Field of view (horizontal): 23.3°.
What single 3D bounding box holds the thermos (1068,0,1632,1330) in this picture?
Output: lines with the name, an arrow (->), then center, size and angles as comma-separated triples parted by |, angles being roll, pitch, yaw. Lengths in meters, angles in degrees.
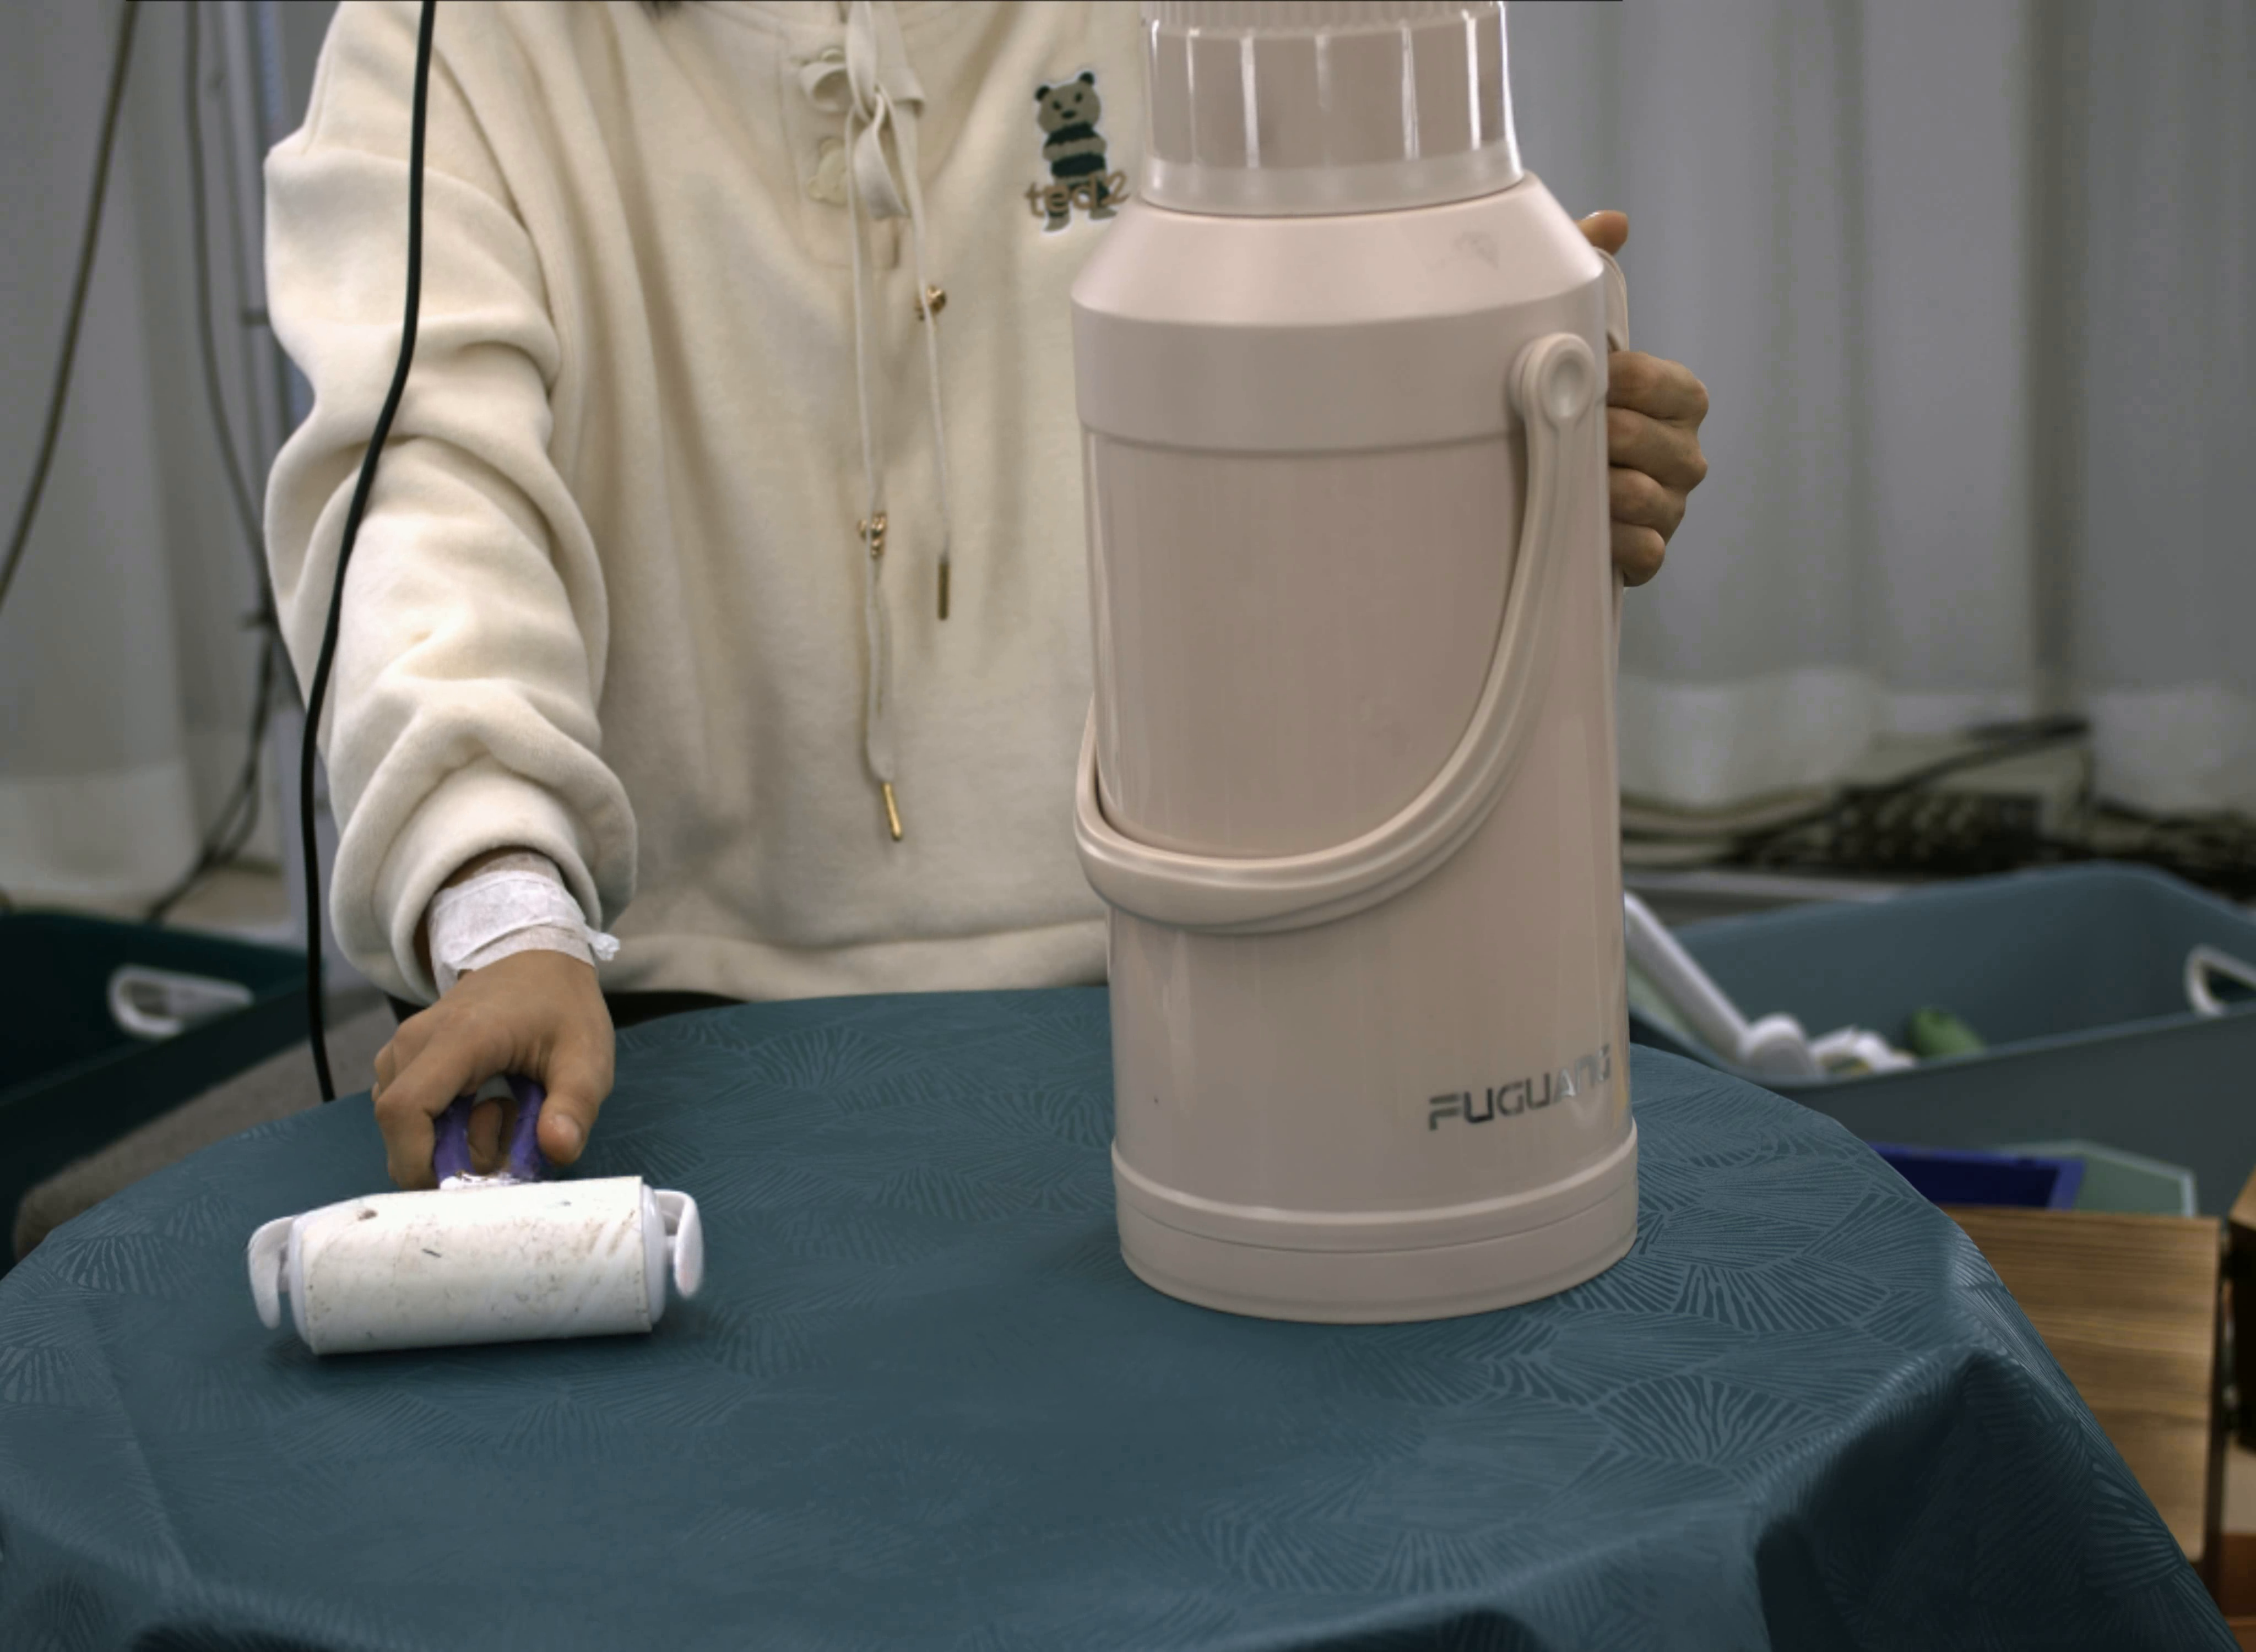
thermos -> 0.076, -0.069, 1.623 | 0.176, 0.405, 0.206 | 10, 18, 44

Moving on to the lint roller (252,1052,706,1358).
lint roller -> -0.193, 0.100, 1.666 | 0.132, 0.050, 0.183 | -4, 28, -1
